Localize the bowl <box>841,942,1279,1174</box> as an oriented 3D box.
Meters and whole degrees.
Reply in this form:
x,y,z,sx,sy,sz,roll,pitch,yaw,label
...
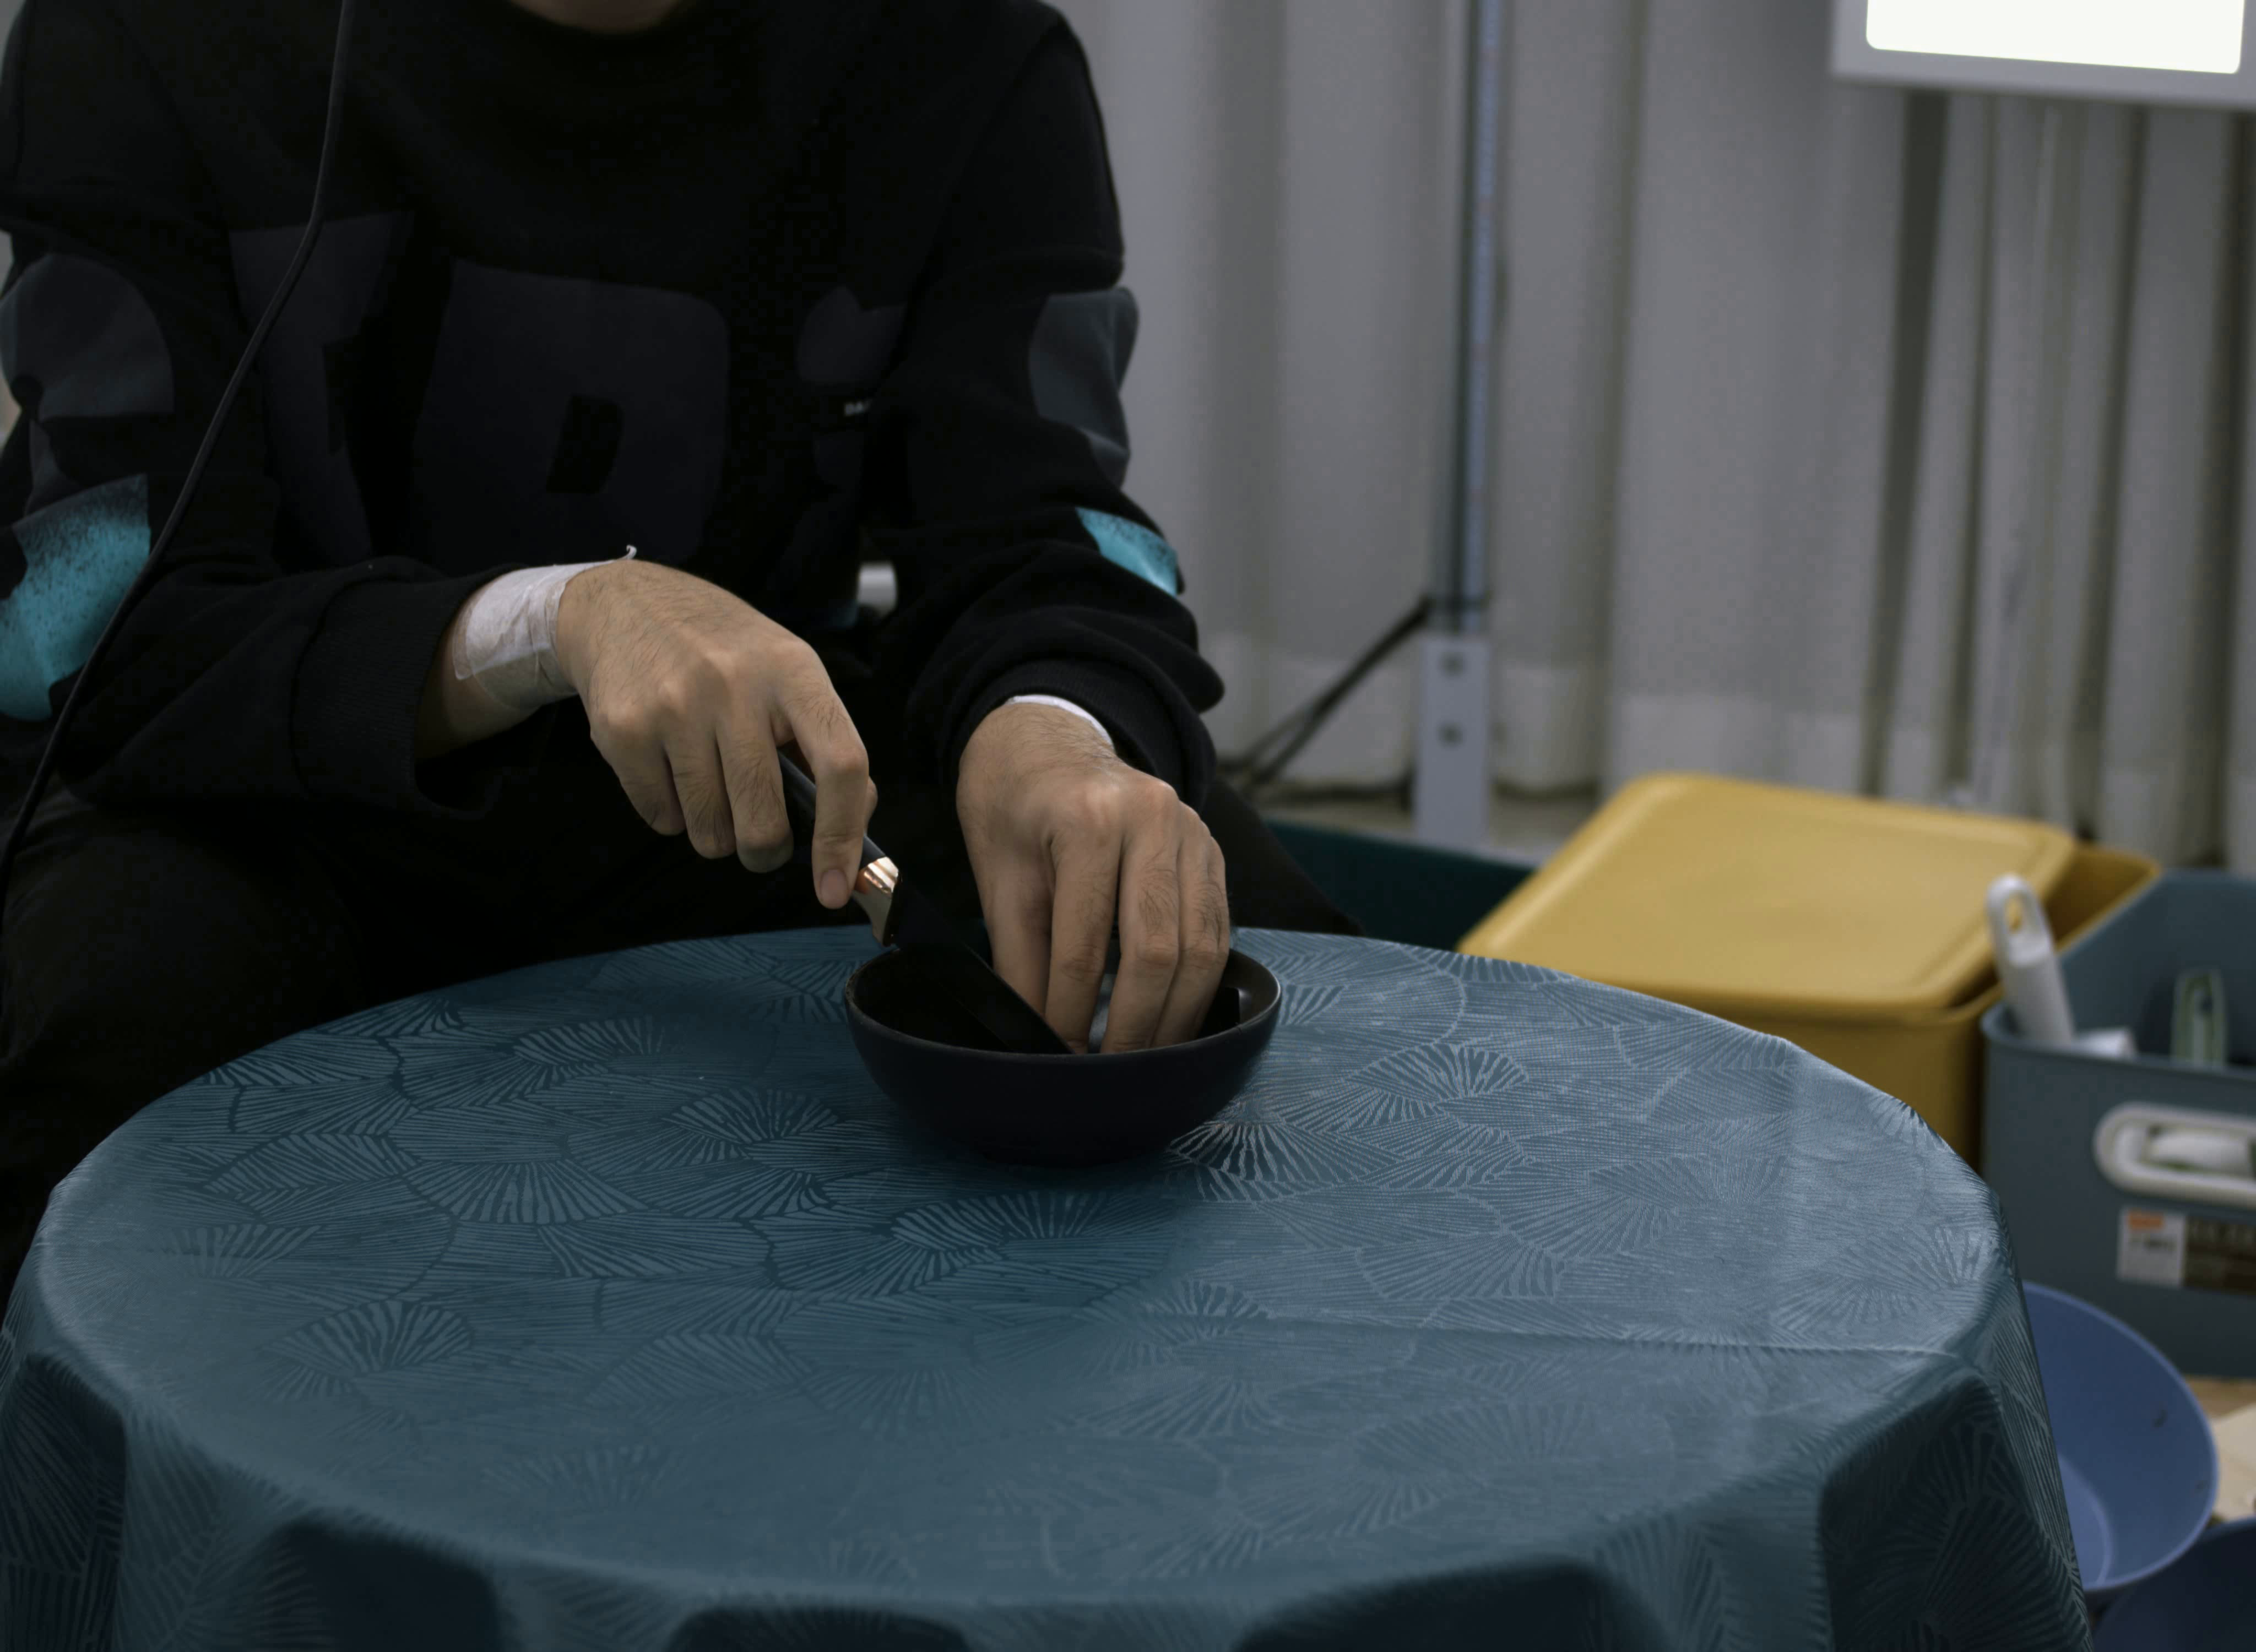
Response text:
x,y,z,sx,sy,sz,roll,pitch,yaw,label
-0.020,0.077,1.668,0.139,0.050,0.139,-3,13,1,bowl

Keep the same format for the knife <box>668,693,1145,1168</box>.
x,y,z,sx,sy,sz,roll,pitch,yaw,label
-0.071,0.032,1.689,0.223,0.026,0.017,42,43,20,knife
